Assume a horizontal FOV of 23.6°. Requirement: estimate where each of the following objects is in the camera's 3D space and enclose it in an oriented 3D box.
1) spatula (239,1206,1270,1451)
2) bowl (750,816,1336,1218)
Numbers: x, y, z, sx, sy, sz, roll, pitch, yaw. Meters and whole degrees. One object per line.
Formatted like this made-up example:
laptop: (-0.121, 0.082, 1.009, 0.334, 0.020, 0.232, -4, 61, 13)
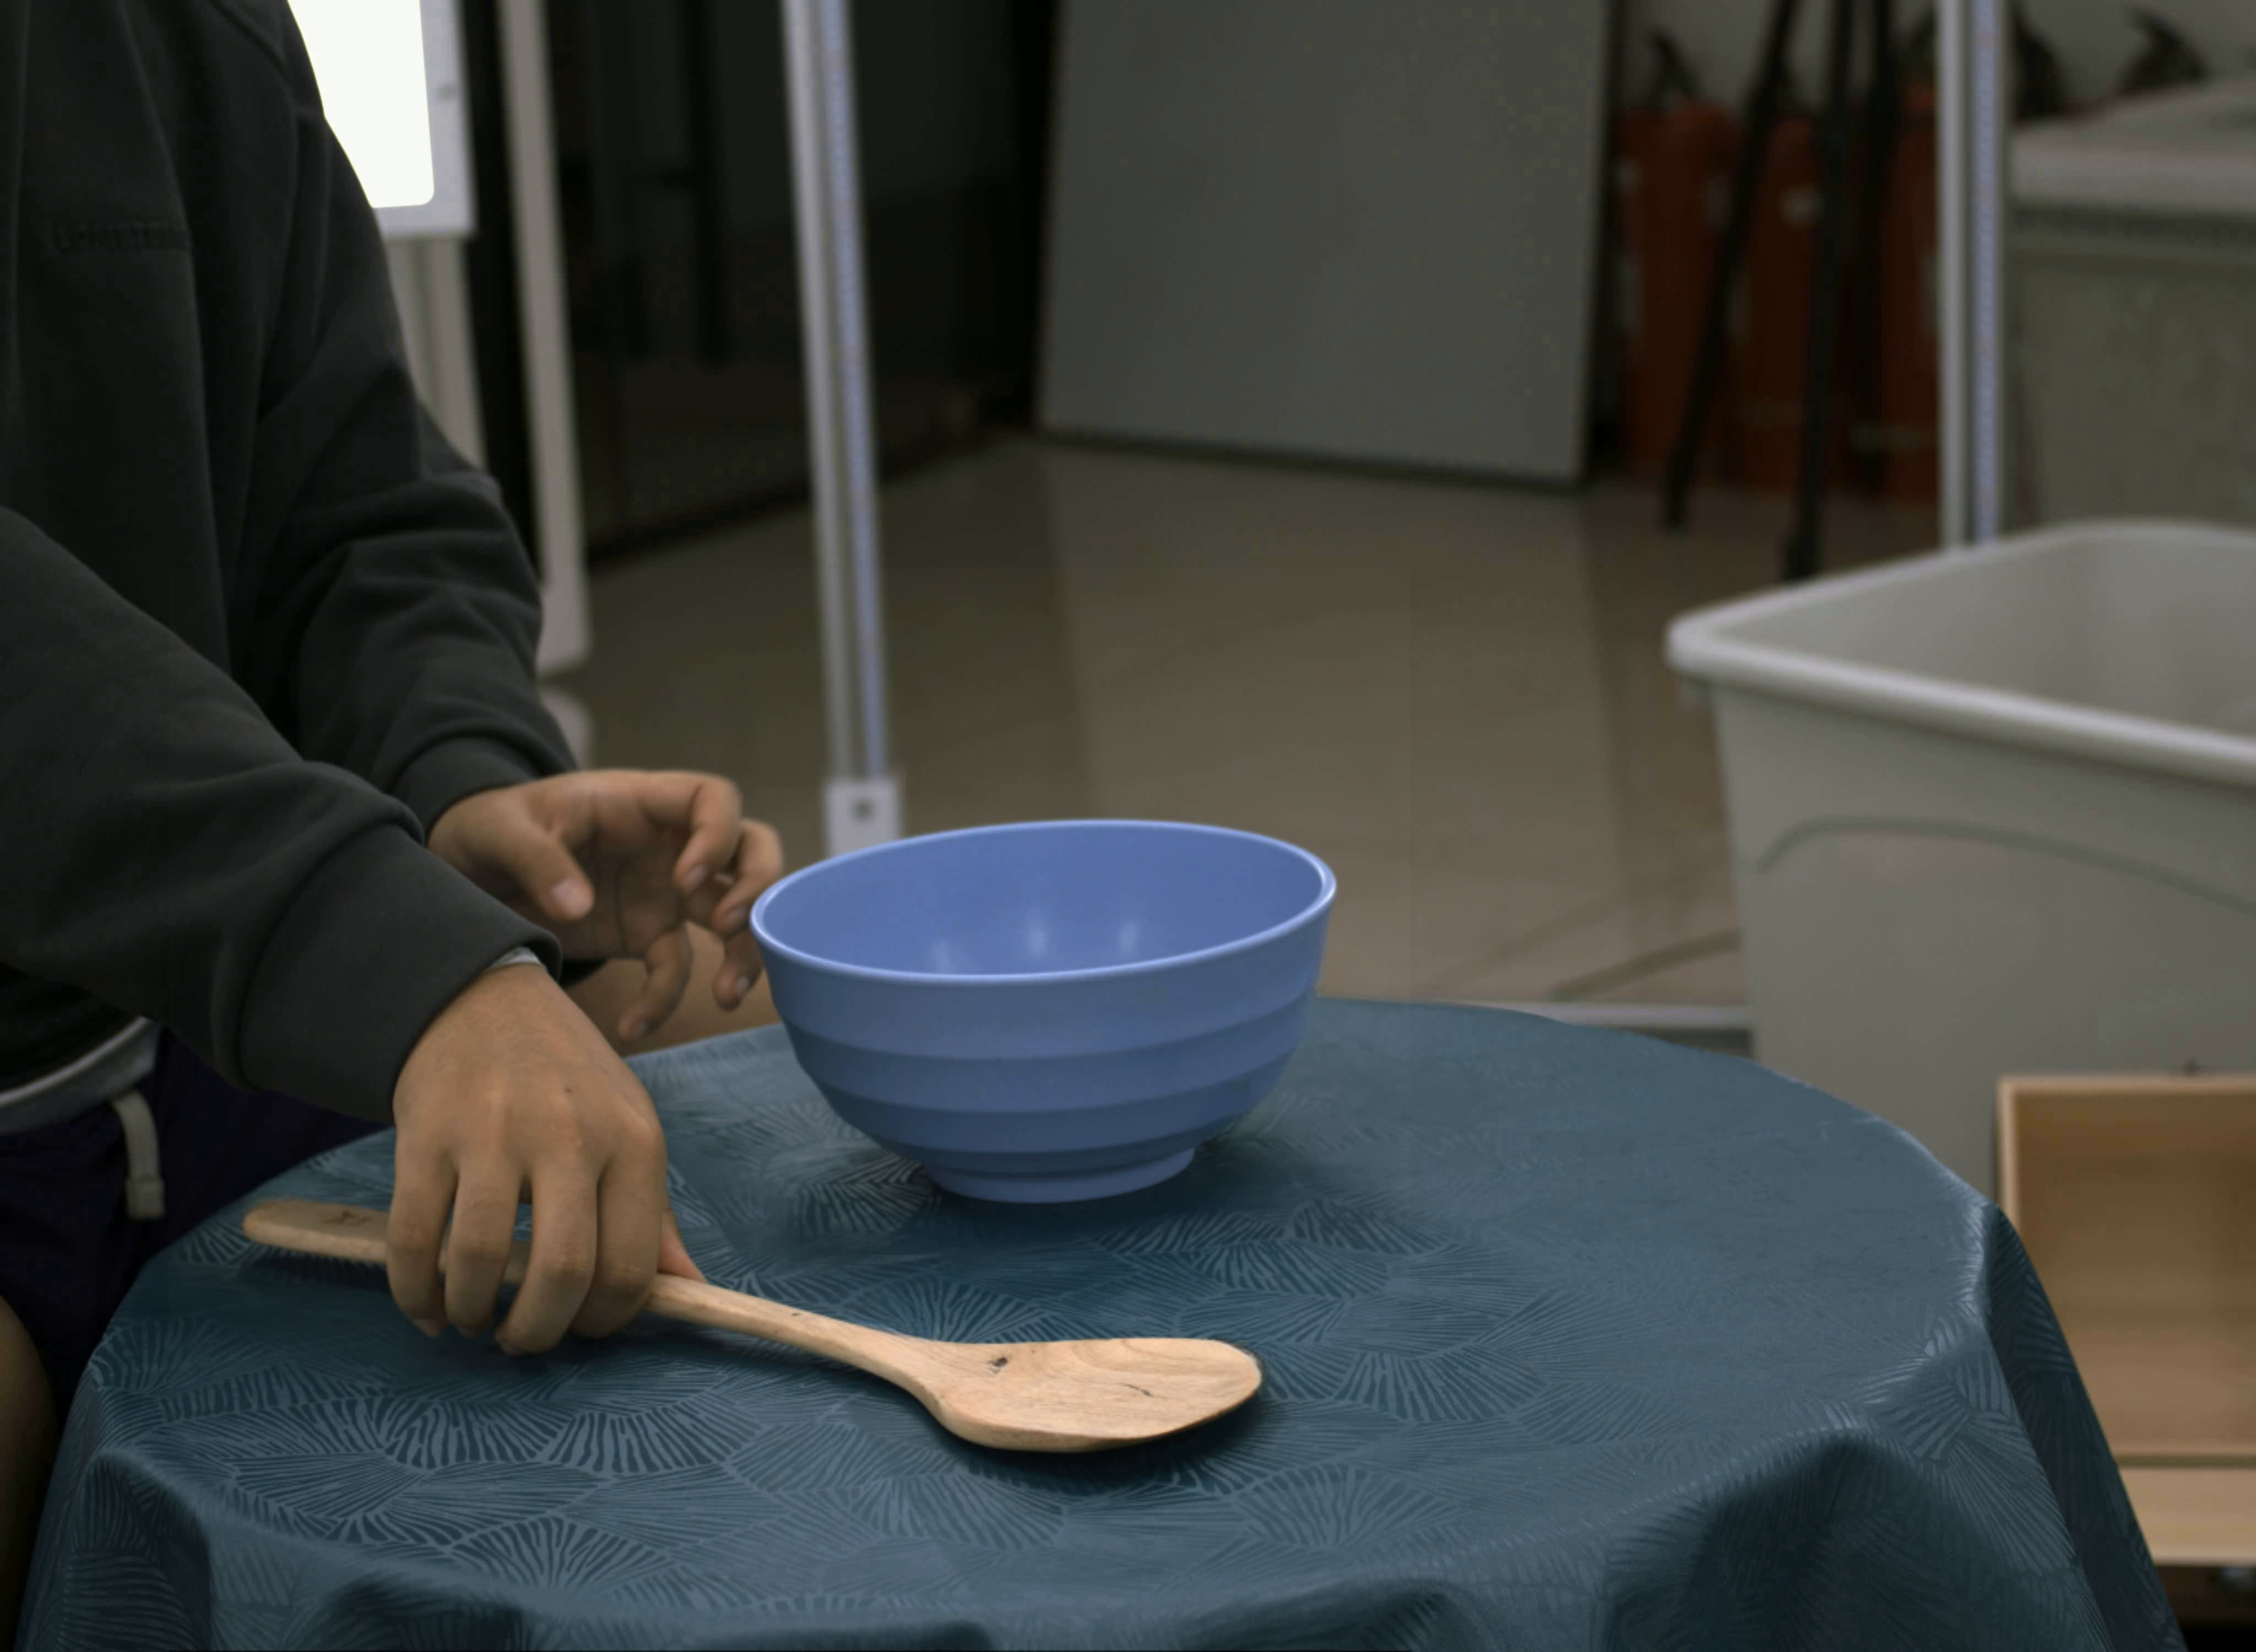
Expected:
spatula: (-0.130, 0.148, 1.641, 0.393, 0.019, 0.094, 9, 14, 36)
bowl: (-0.026, 0.070, 1.795, 0.194, 0.096, 0.197, -3, 16, 0)
